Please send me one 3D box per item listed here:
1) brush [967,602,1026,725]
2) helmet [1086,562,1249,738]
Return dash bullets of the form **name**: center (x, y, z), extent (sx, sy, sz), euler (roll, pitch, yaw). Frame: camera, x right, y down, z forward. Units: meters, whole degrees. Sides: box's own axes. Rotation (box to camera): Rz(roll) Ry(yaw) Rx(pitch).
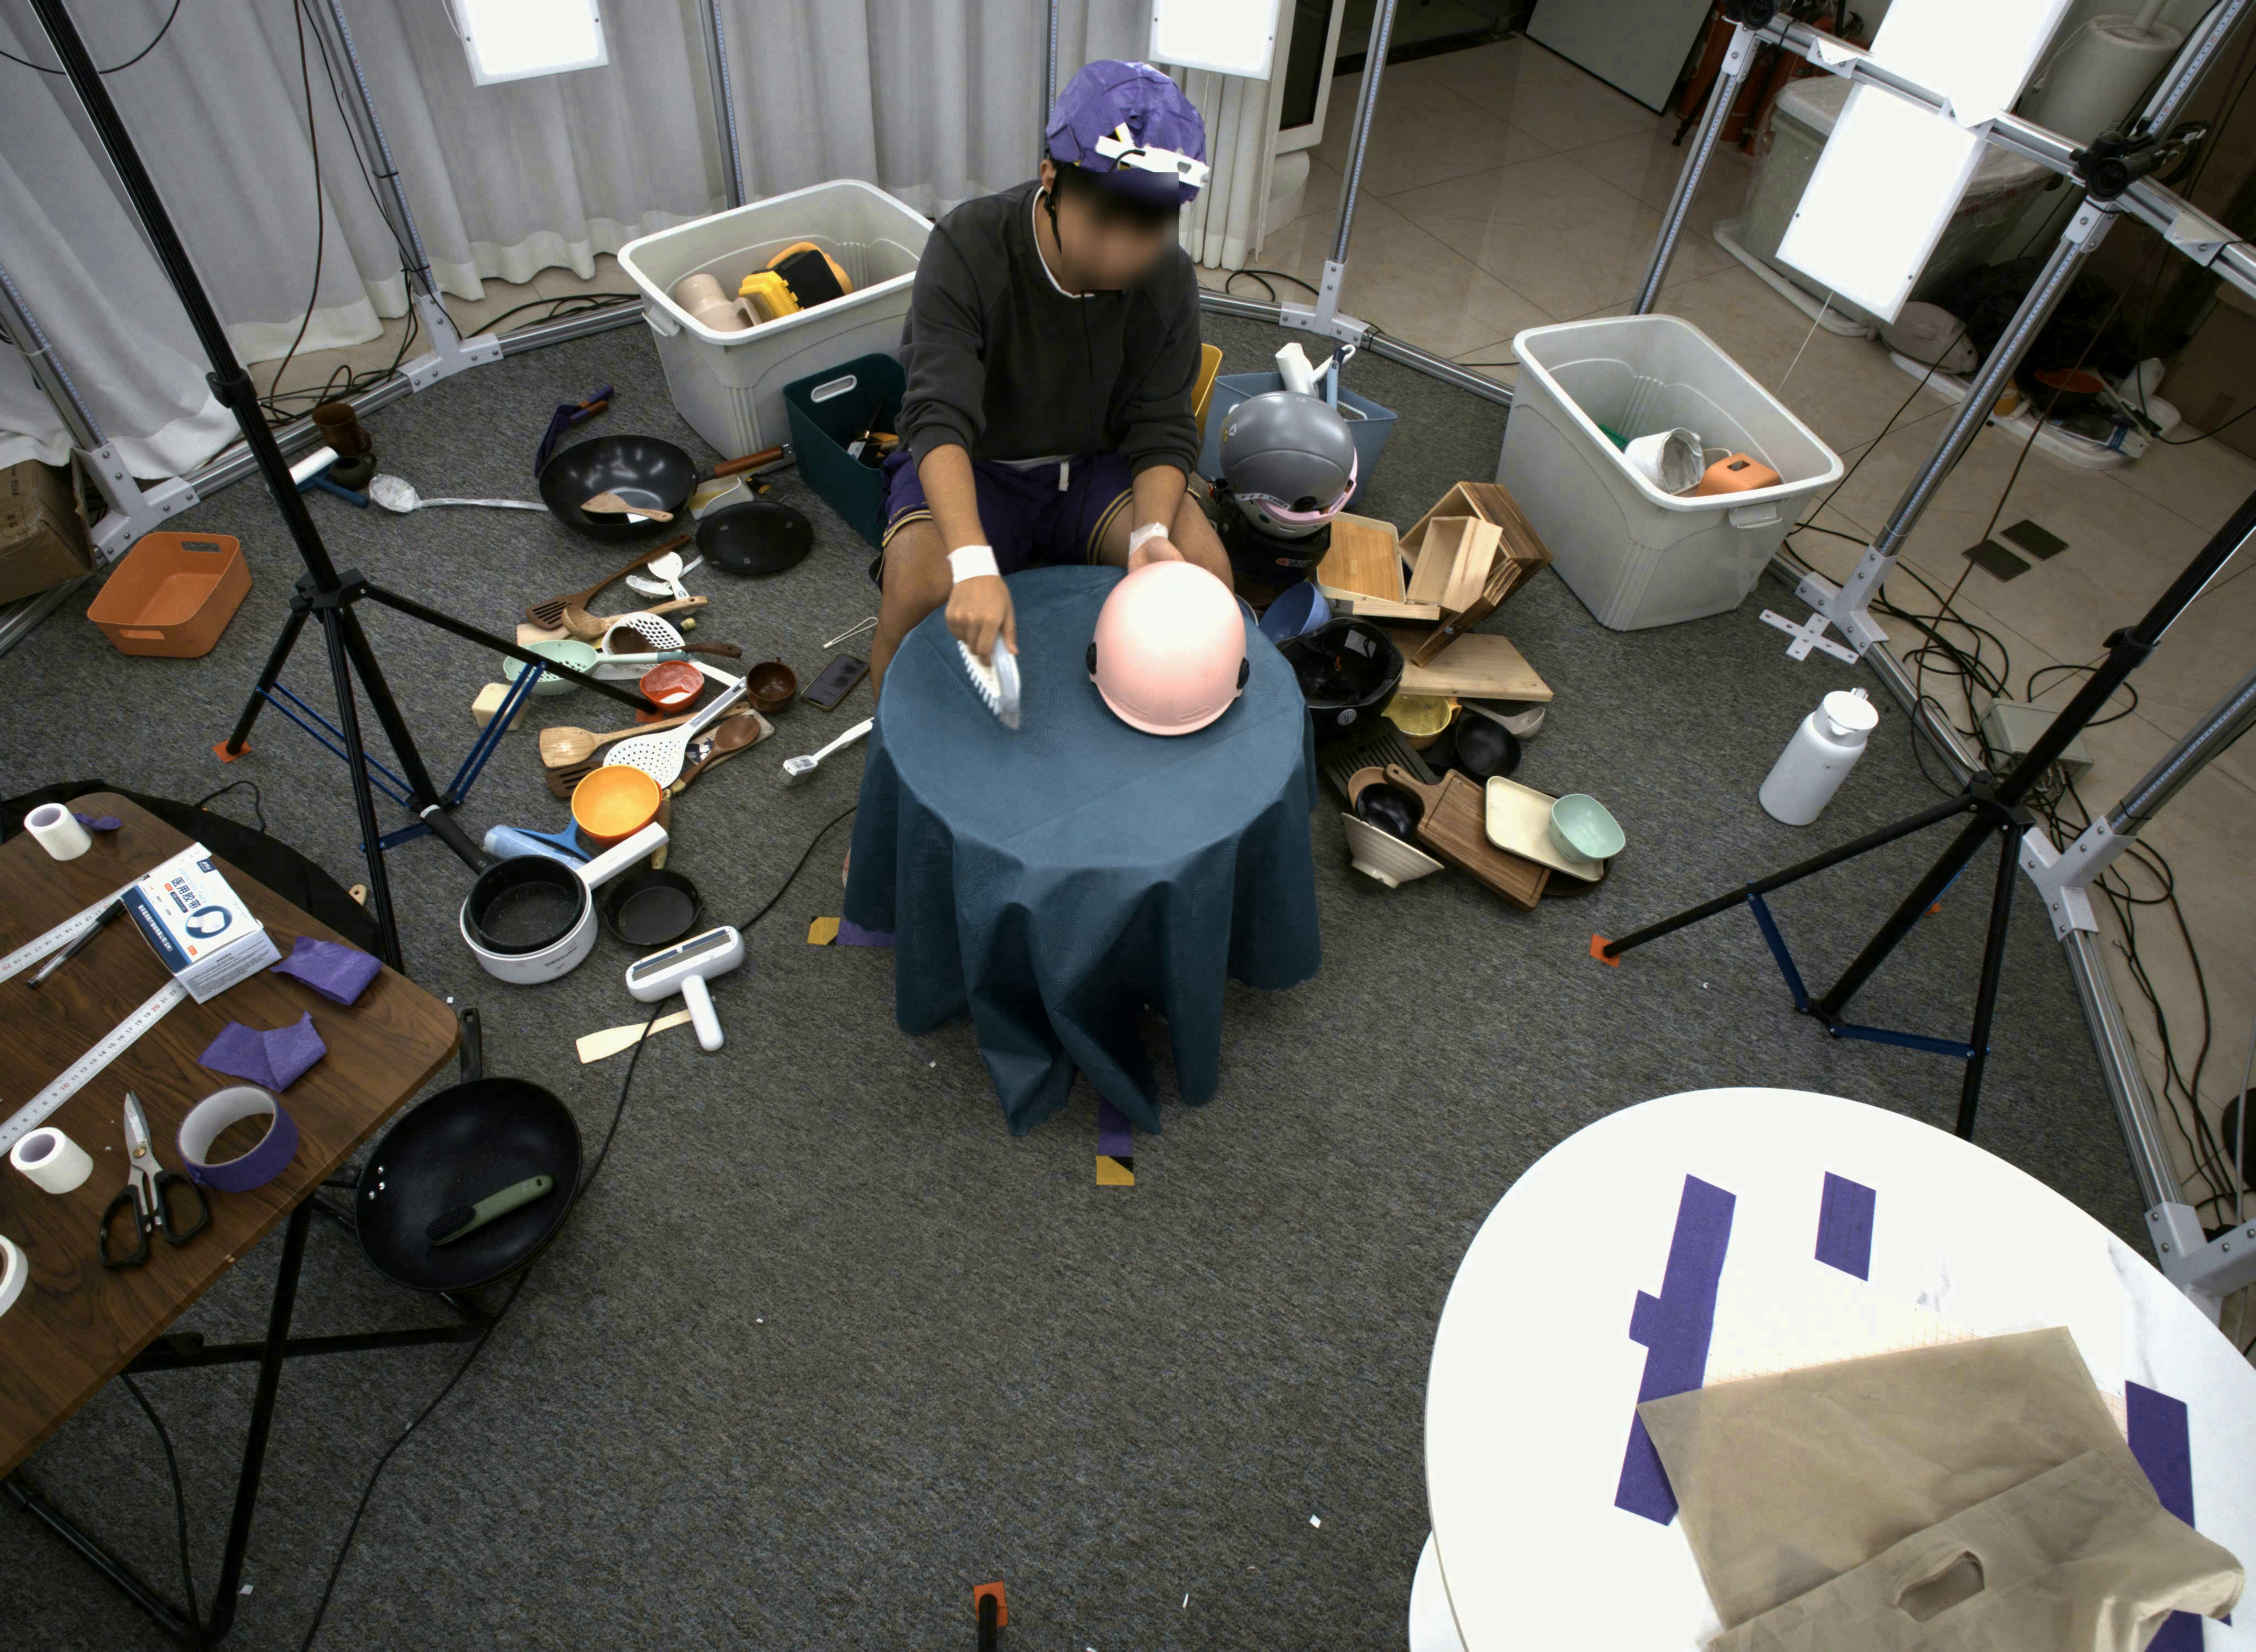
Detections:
- **brush**: center (-0.171, -0.228, 1.742), extent (0.061, 0.092, 0.179), euler (-14, 59, -16)
- **helmet**: center (0.060, -0.268, 1.807), extent (0.234, 0.155, 0.272), euler (6, 52, 0)
